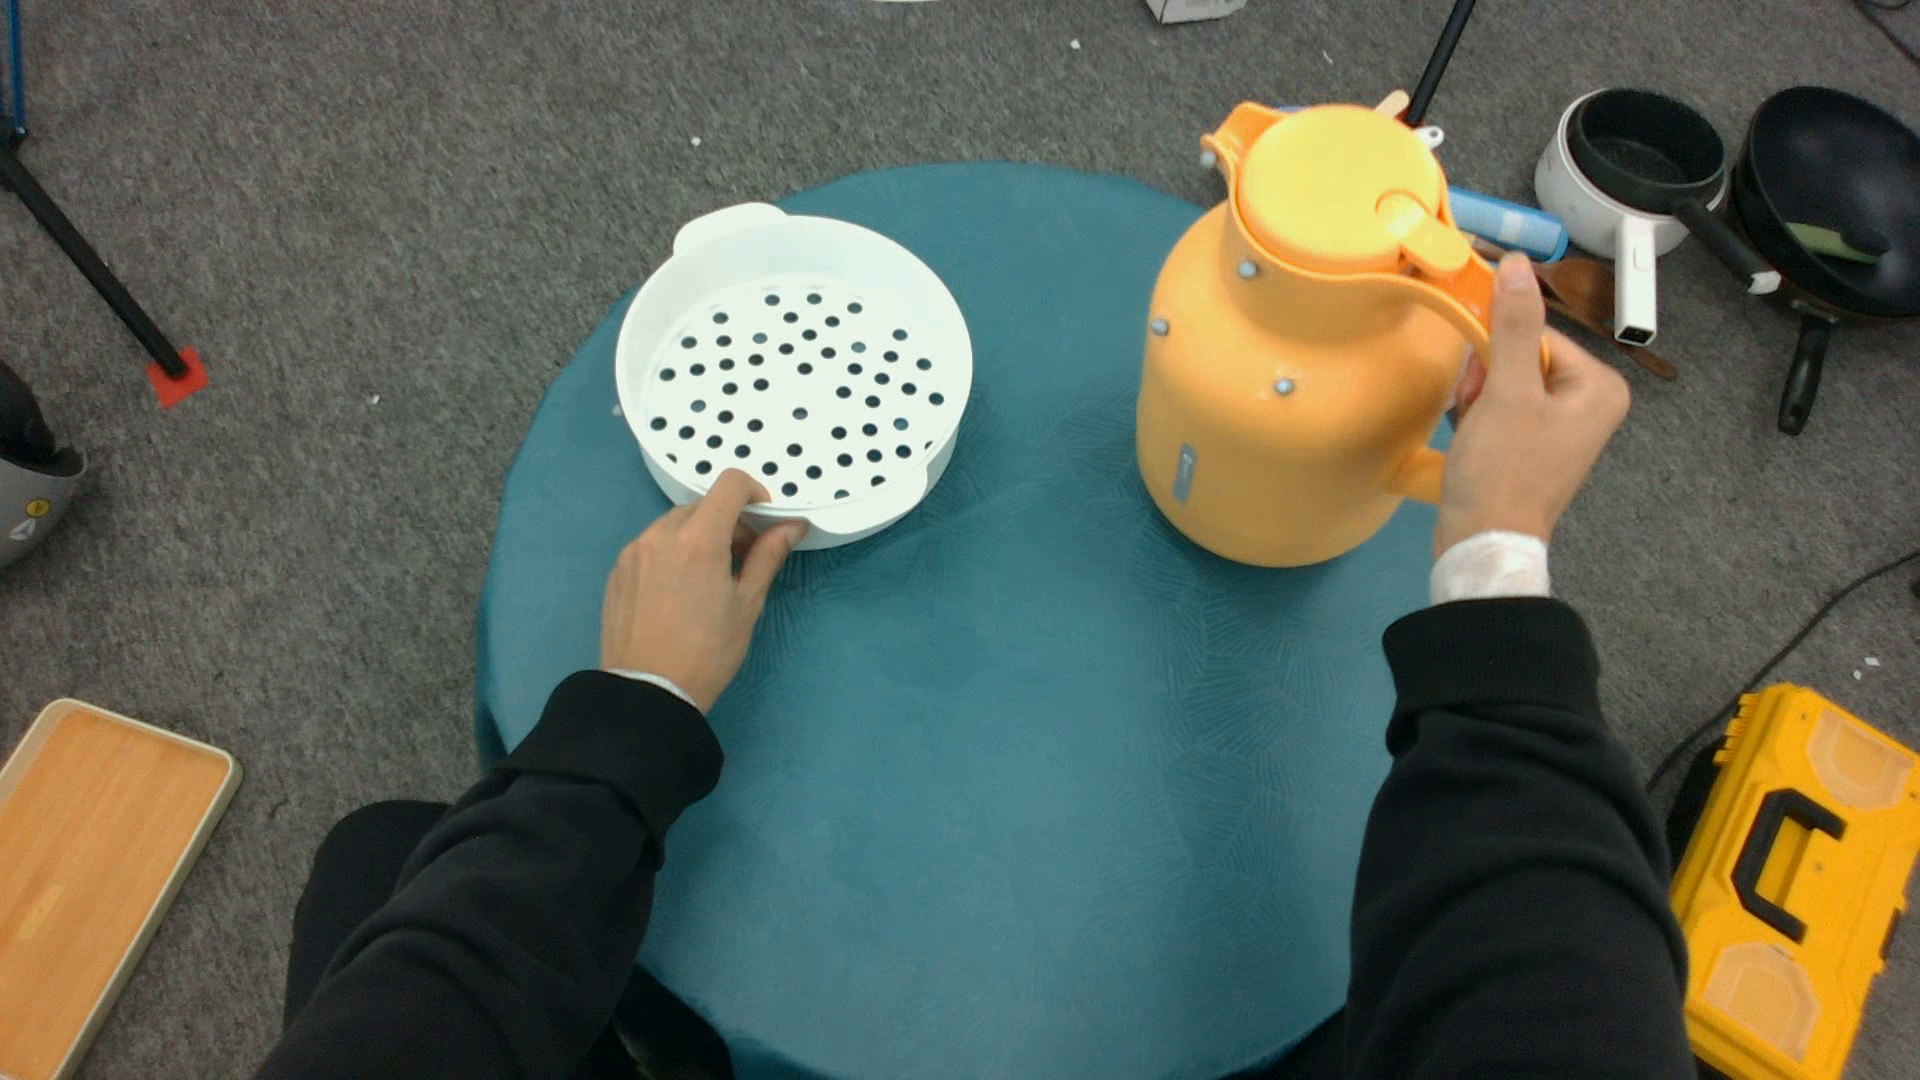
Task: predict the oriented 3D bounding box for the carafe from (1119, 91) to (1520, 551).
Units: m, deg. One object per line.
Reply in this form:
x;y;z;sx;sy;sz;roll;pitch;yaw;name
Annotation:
0.182;-0.098;0.722;0.164;0.259;0.202;-38;67;-14;carafe

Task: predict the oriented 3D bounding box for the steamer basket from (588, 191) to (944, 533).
-0.112;-0.100;0.812;0.202;0.069;0.231;-23;68;-17;steamer basket
